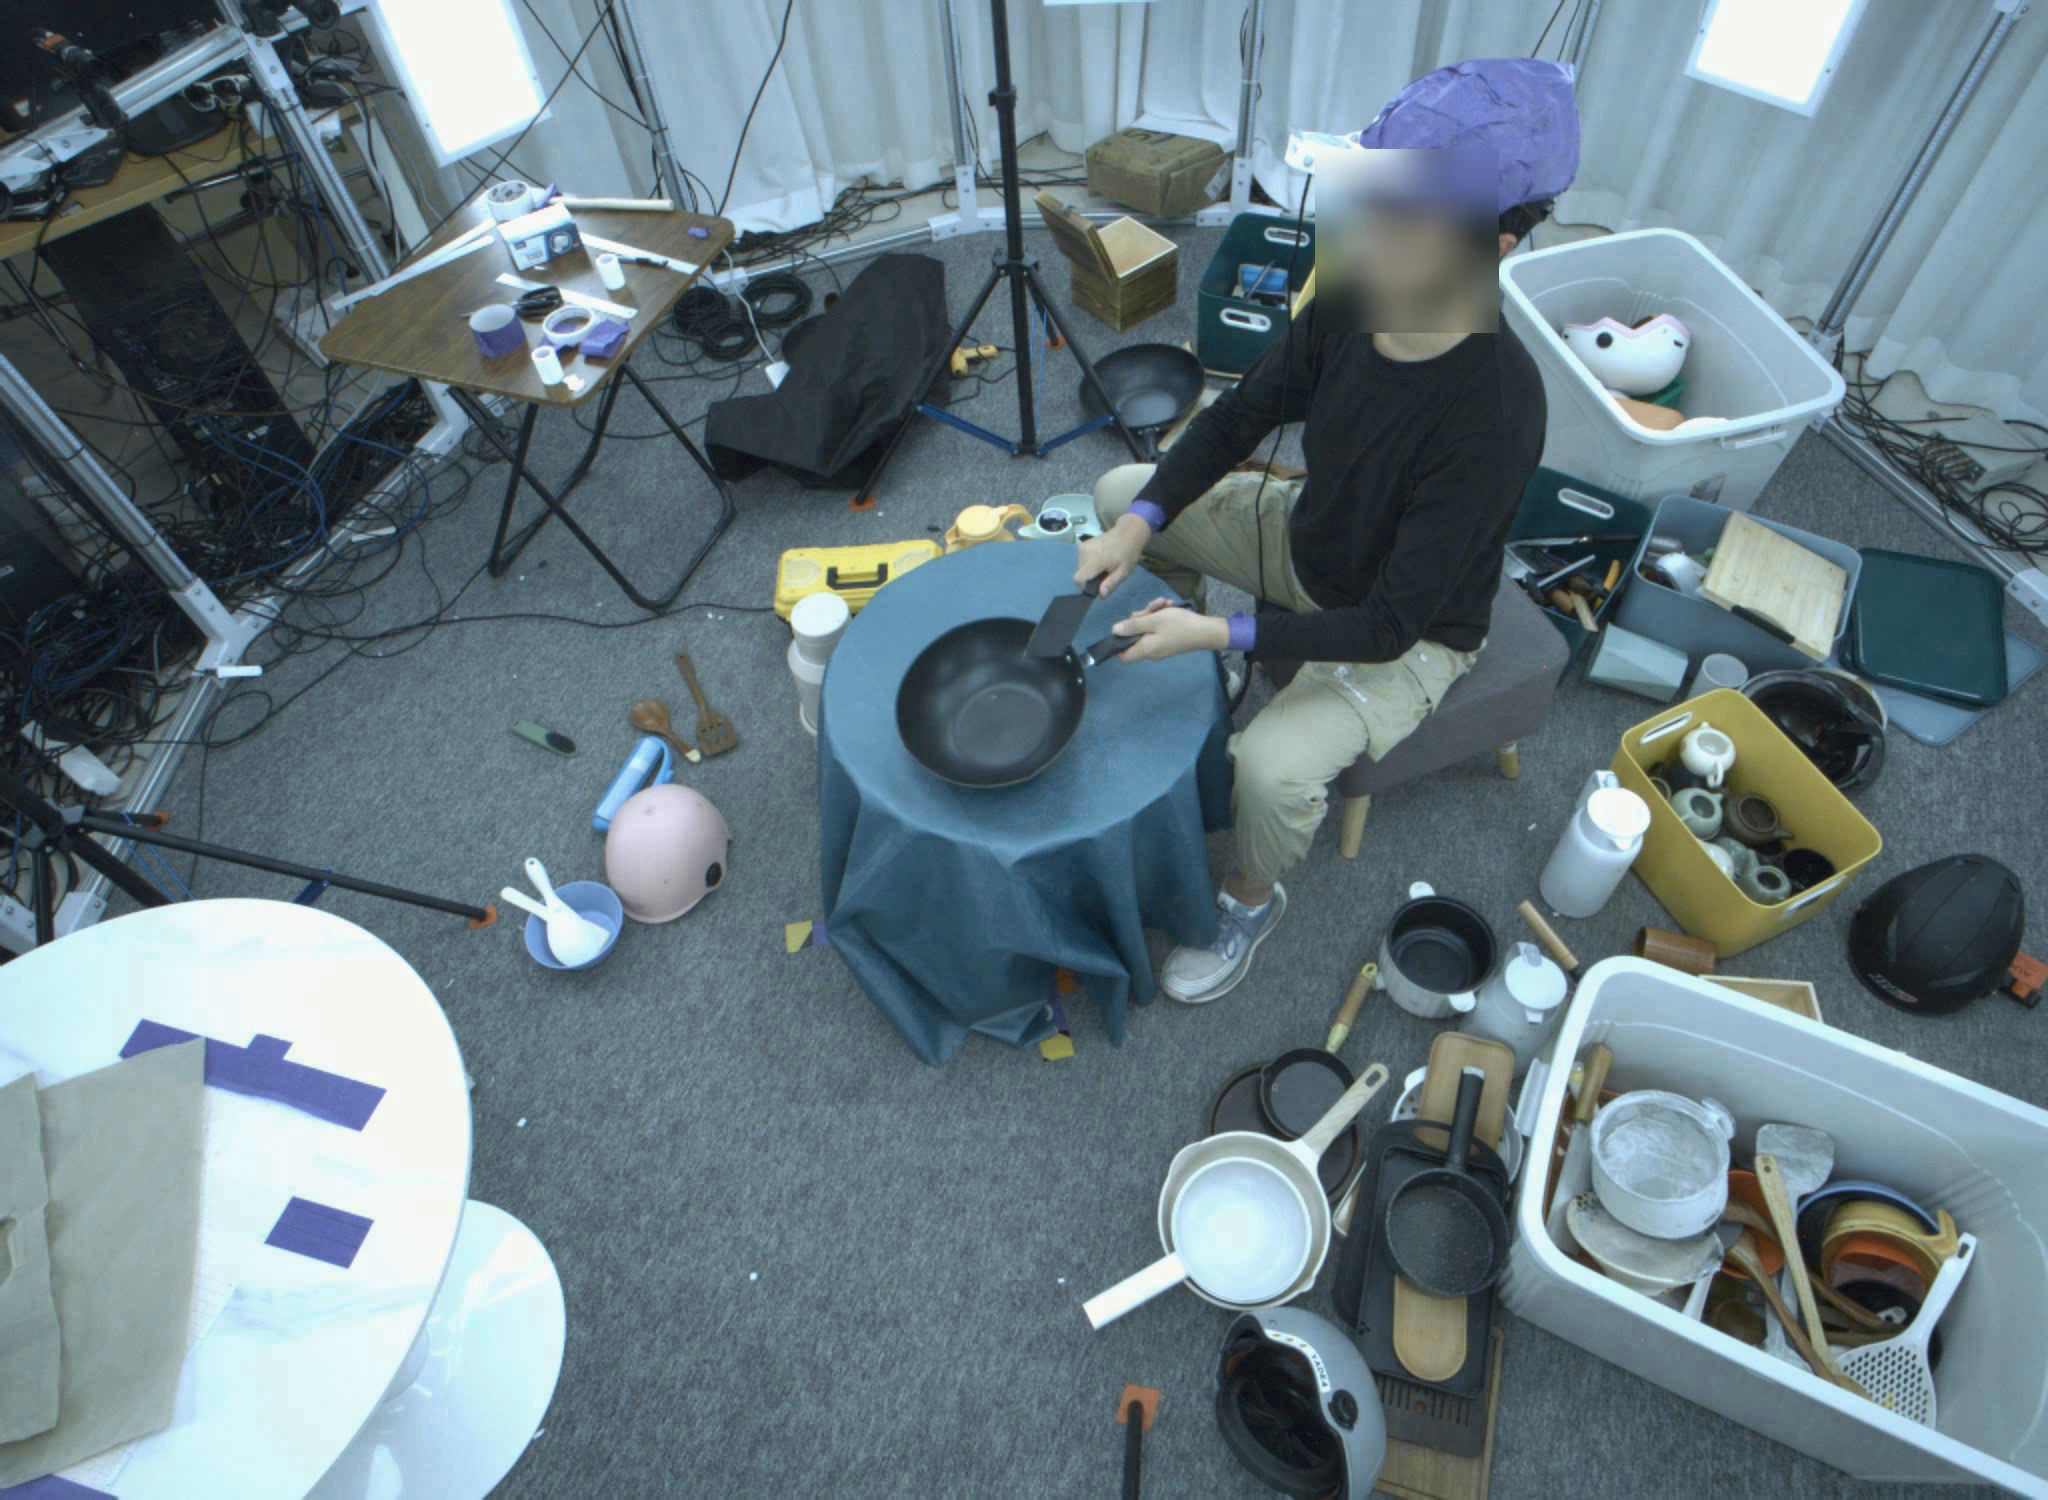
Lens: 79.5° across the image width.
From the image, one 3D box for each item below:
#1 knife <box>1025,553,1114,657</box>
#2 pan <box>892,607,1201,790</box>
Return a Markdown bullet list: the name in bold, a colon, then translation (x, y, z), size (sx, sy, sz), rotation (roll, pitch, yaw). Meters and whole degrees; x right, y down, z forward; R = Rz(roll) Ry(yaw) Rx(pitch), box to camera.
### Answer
- **knife**: translation (0.072, -0.212, 1.790), size (0.079, 0.021, 0.303), rotation (3, 36, 24)
- **pan**: translation (0.039, -0.092, 1.766), size (0.464, 0.088, 0.283), rotation (-24, 60, -4)
